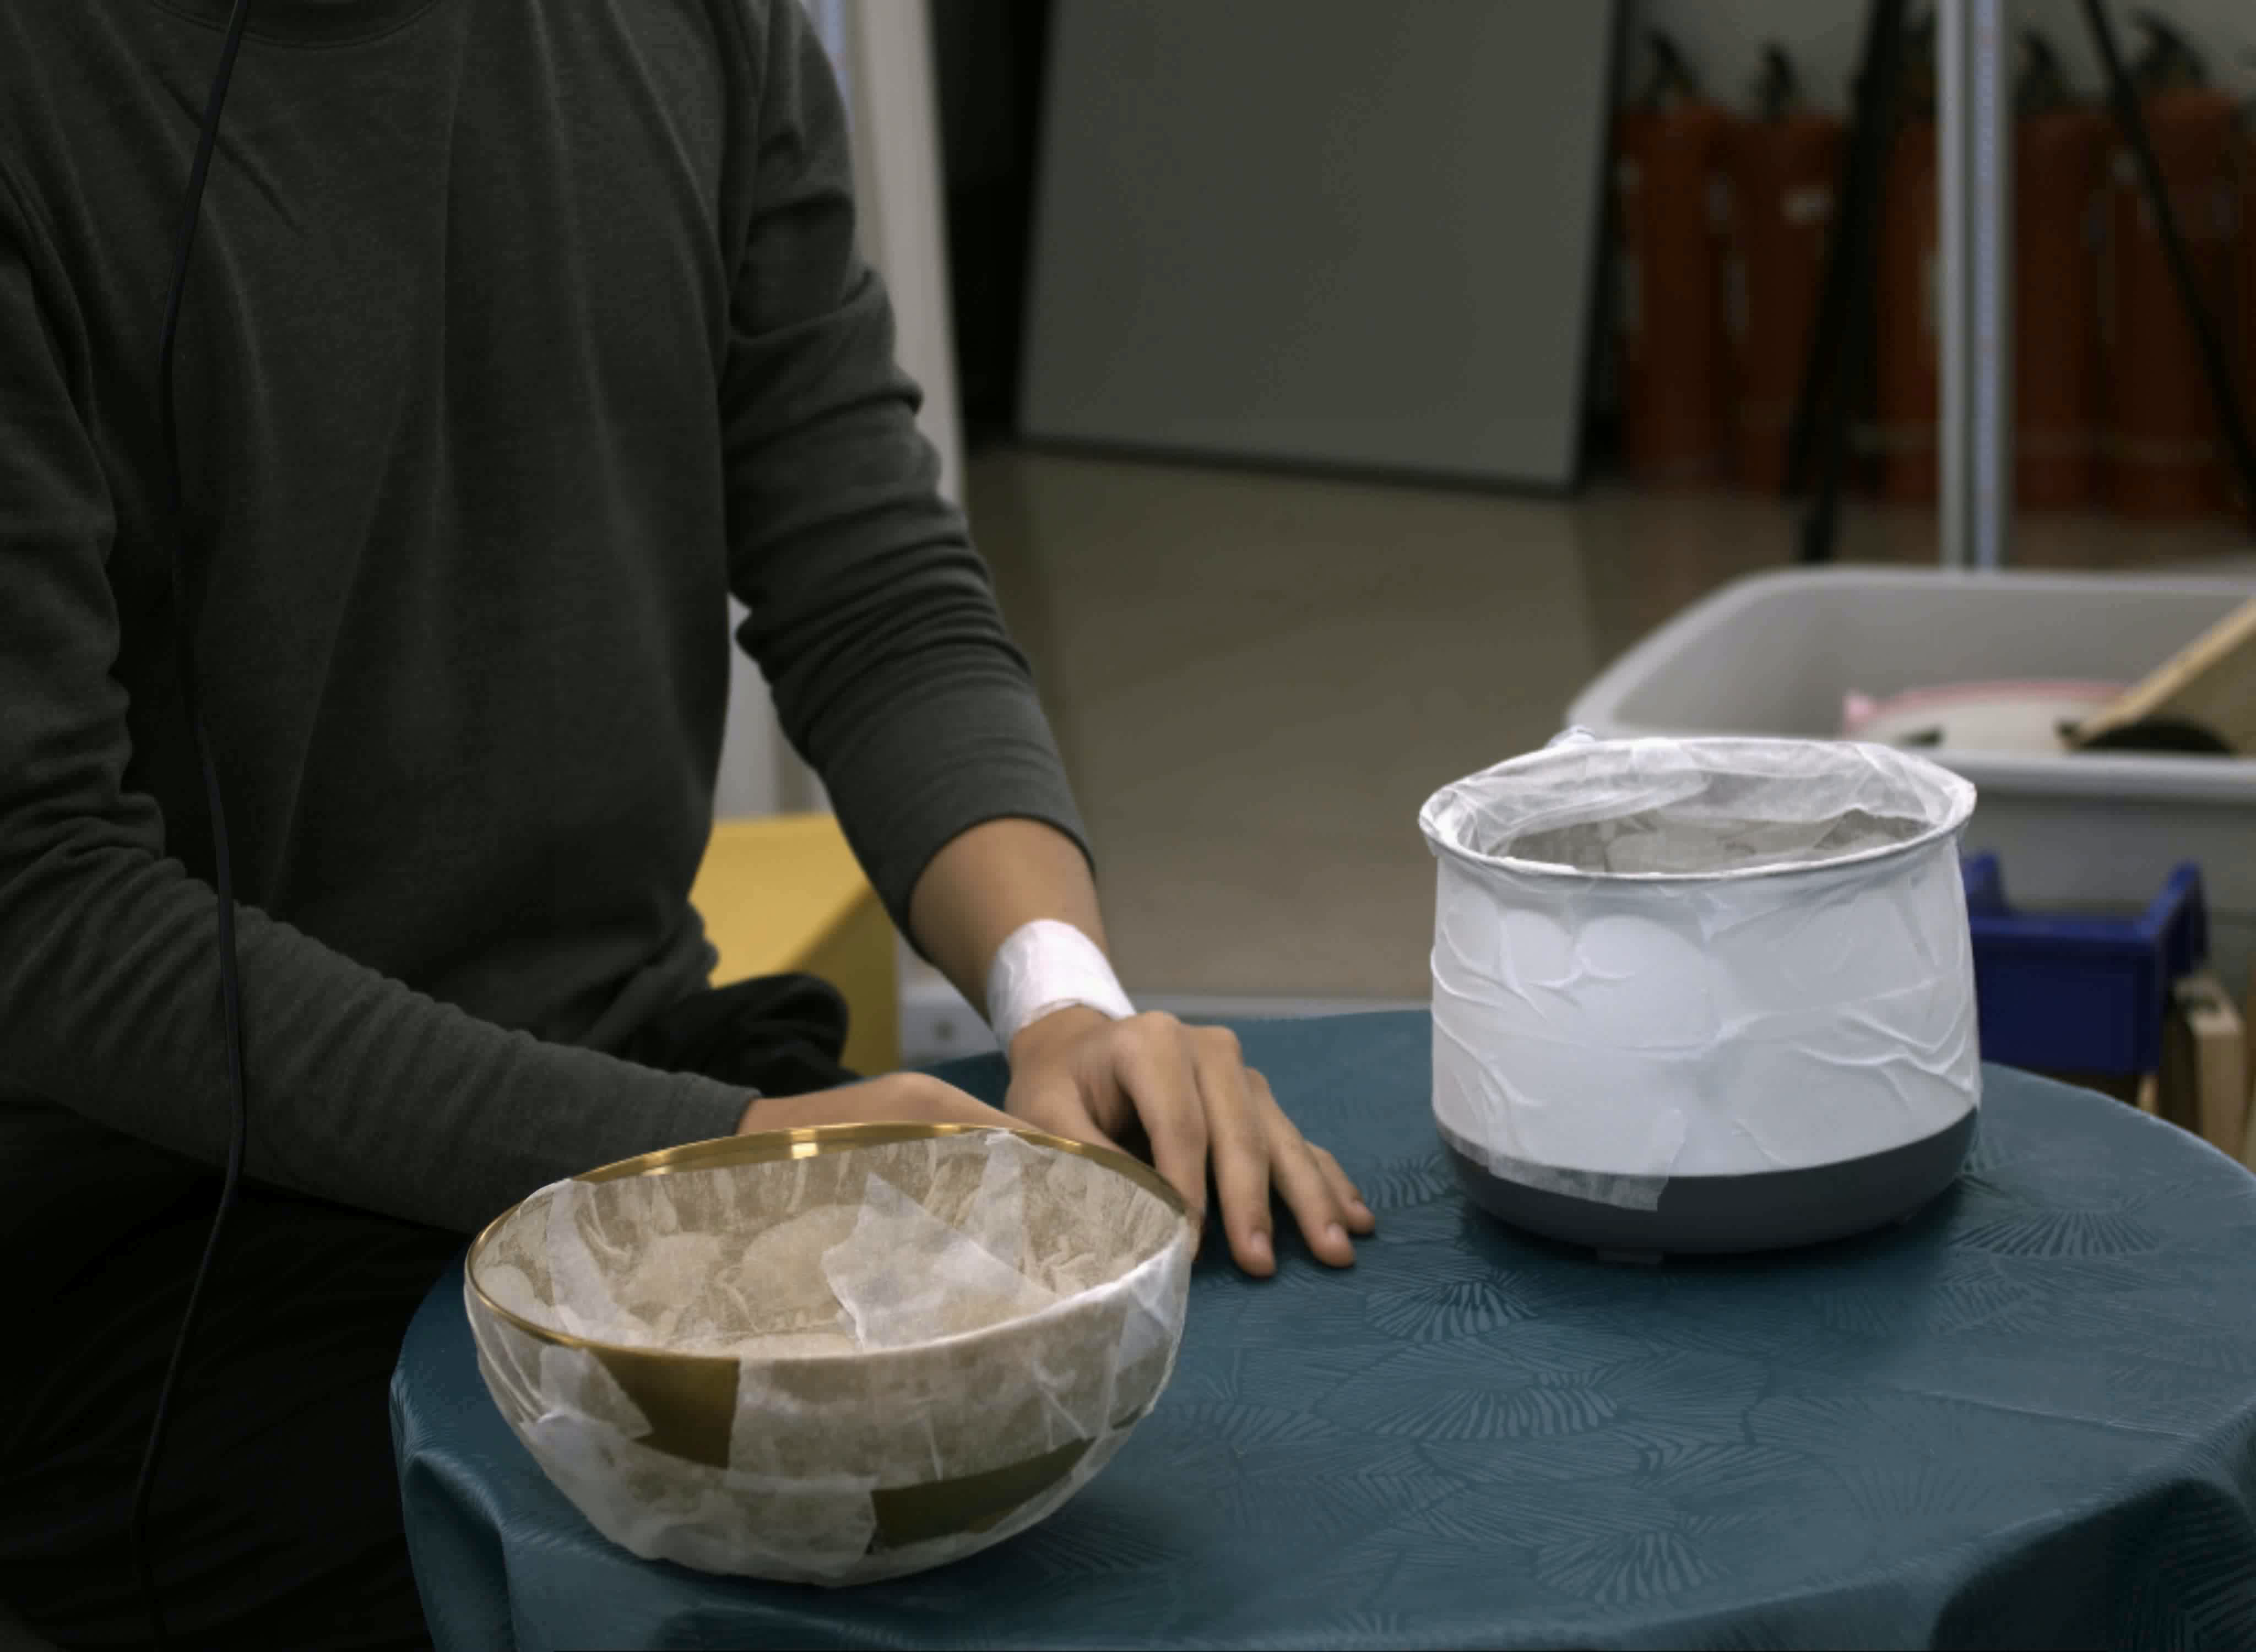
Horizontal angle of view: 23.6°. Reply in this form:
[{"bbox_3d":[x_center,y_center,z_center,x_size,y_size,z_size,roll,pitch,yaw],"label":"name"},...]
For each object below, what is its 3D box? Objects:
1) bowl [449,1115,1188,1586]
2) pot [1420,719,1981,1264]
[{"bbox_3d":[-0.080,0.150,1.480,0.212,0.095,0.215,-6,13,0],"label":"bowl"},{"bbox_3d":[0.173,0.047,1.737,0.175,0.138,0.236,-8,14,-17],"label":"pot"}]
